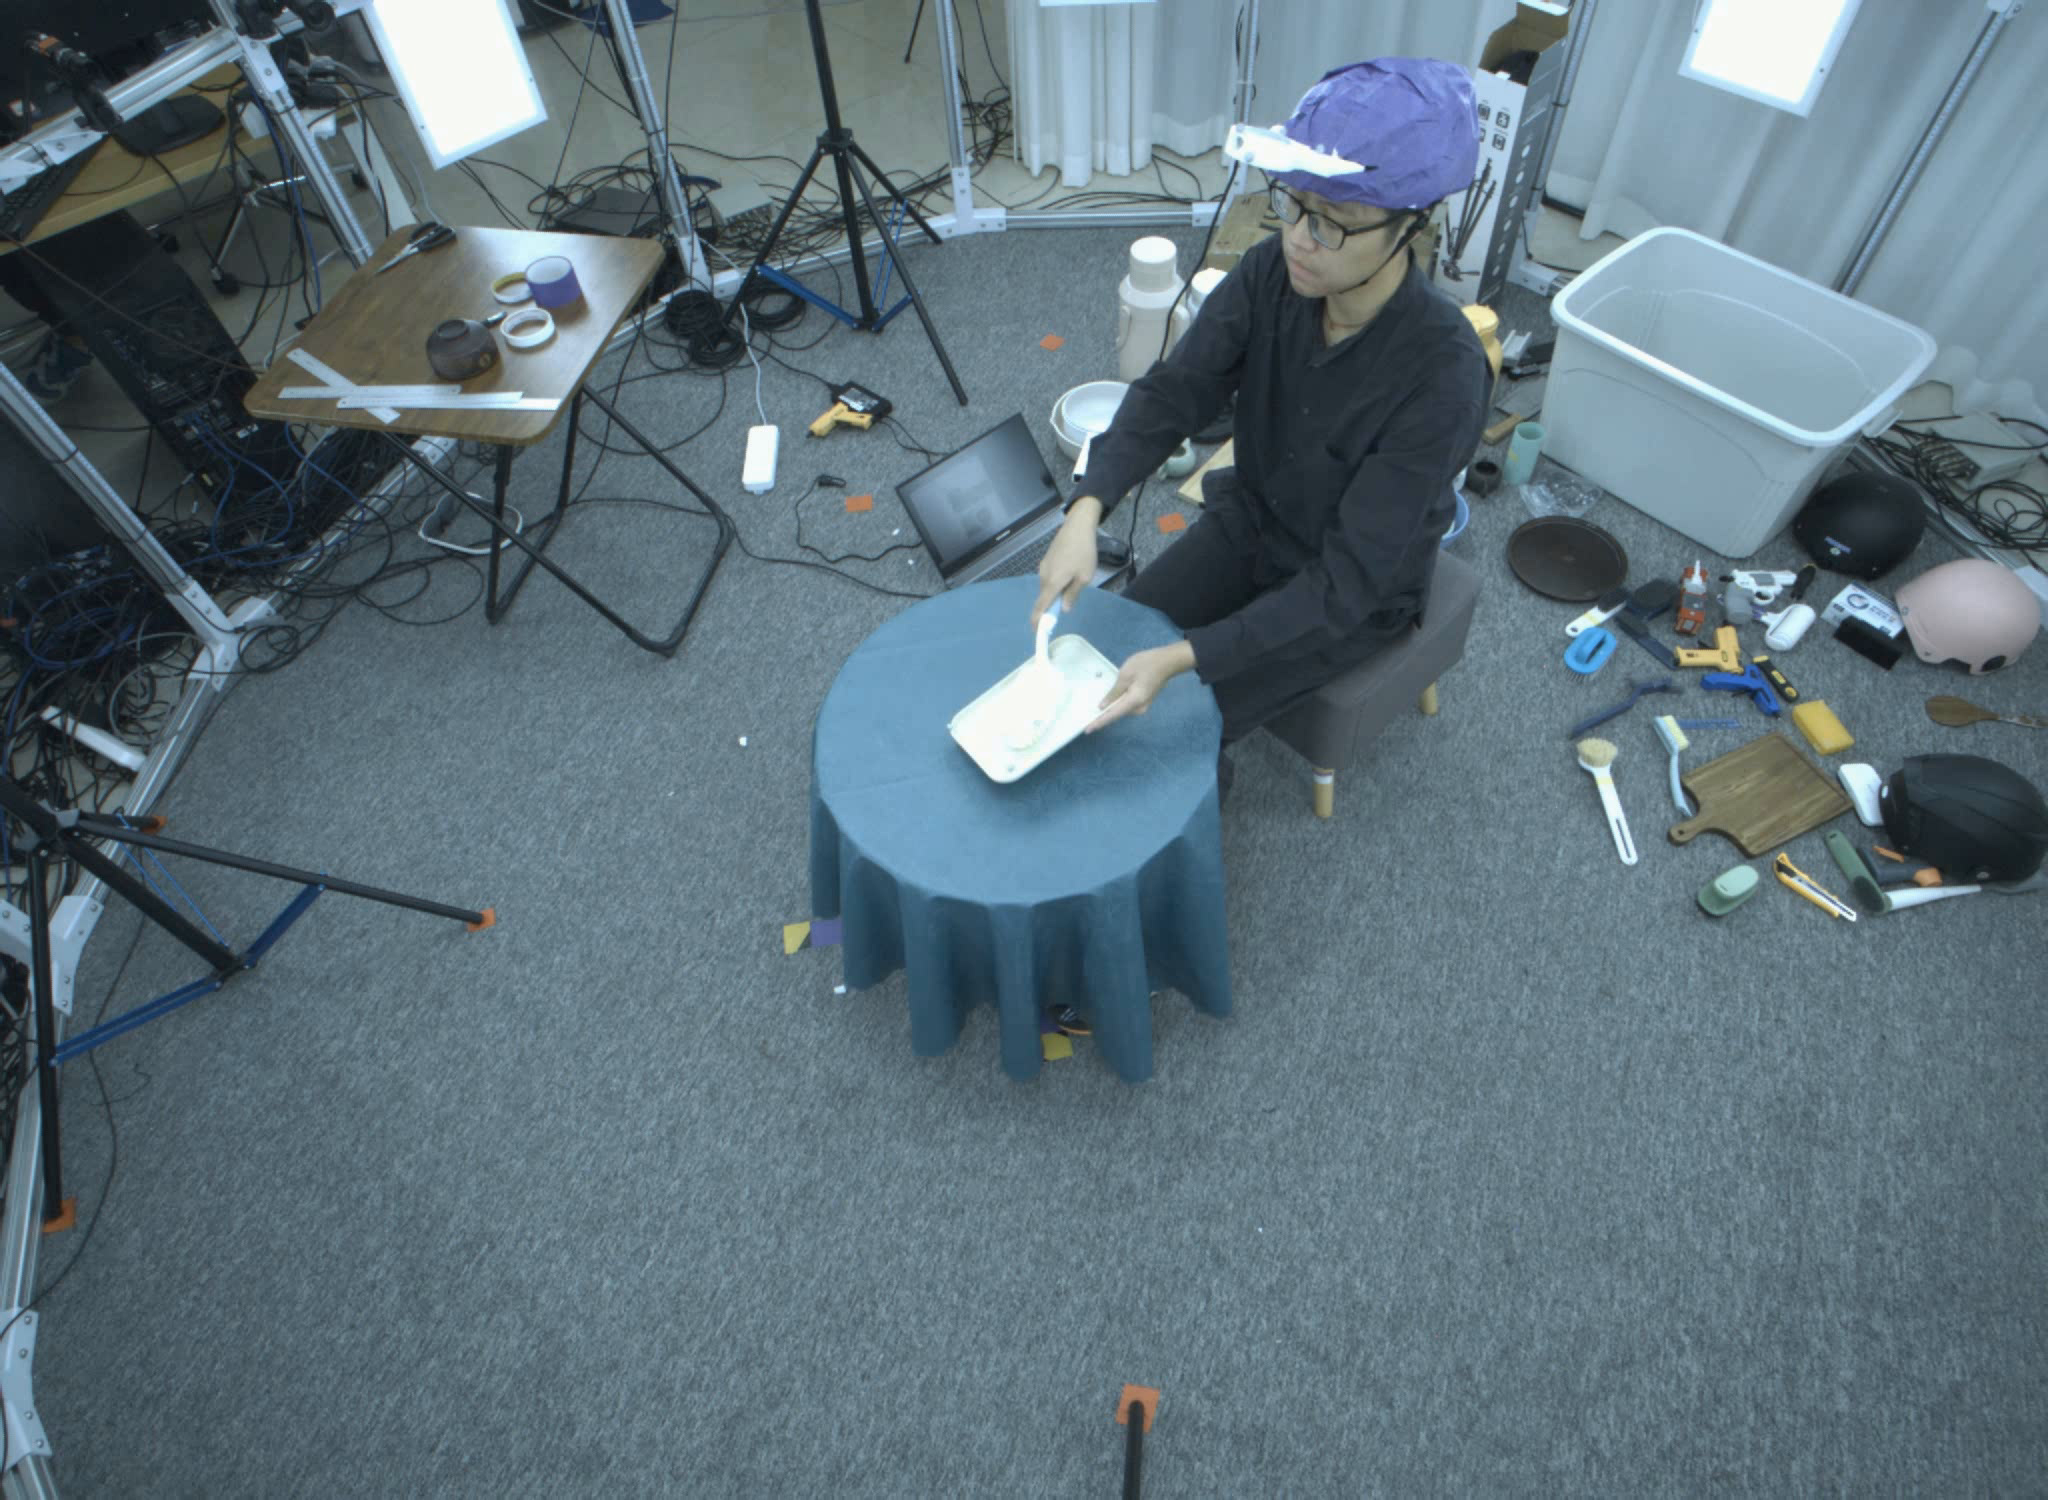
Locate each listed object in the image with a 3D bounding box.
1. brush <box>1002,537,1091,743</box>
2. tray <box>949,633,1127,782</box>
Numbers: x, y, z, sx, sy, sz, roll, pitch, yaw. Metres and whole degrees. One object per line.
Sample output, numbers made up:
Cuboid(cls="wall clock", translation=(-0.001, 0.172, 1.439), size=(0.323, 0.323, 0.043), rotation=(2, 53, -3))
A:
Cuboid(cls="brush", translation=(0.050, -0.153, 1.762), size=(0.083, 0.084, 0.325), rotation=(23, 73, -6))
Cuboid(cls="tray", translation=(0.019, -0.061, 1.750), size=(0.240, 0.018, 0.167), rotation=(-37, 49, -8))
